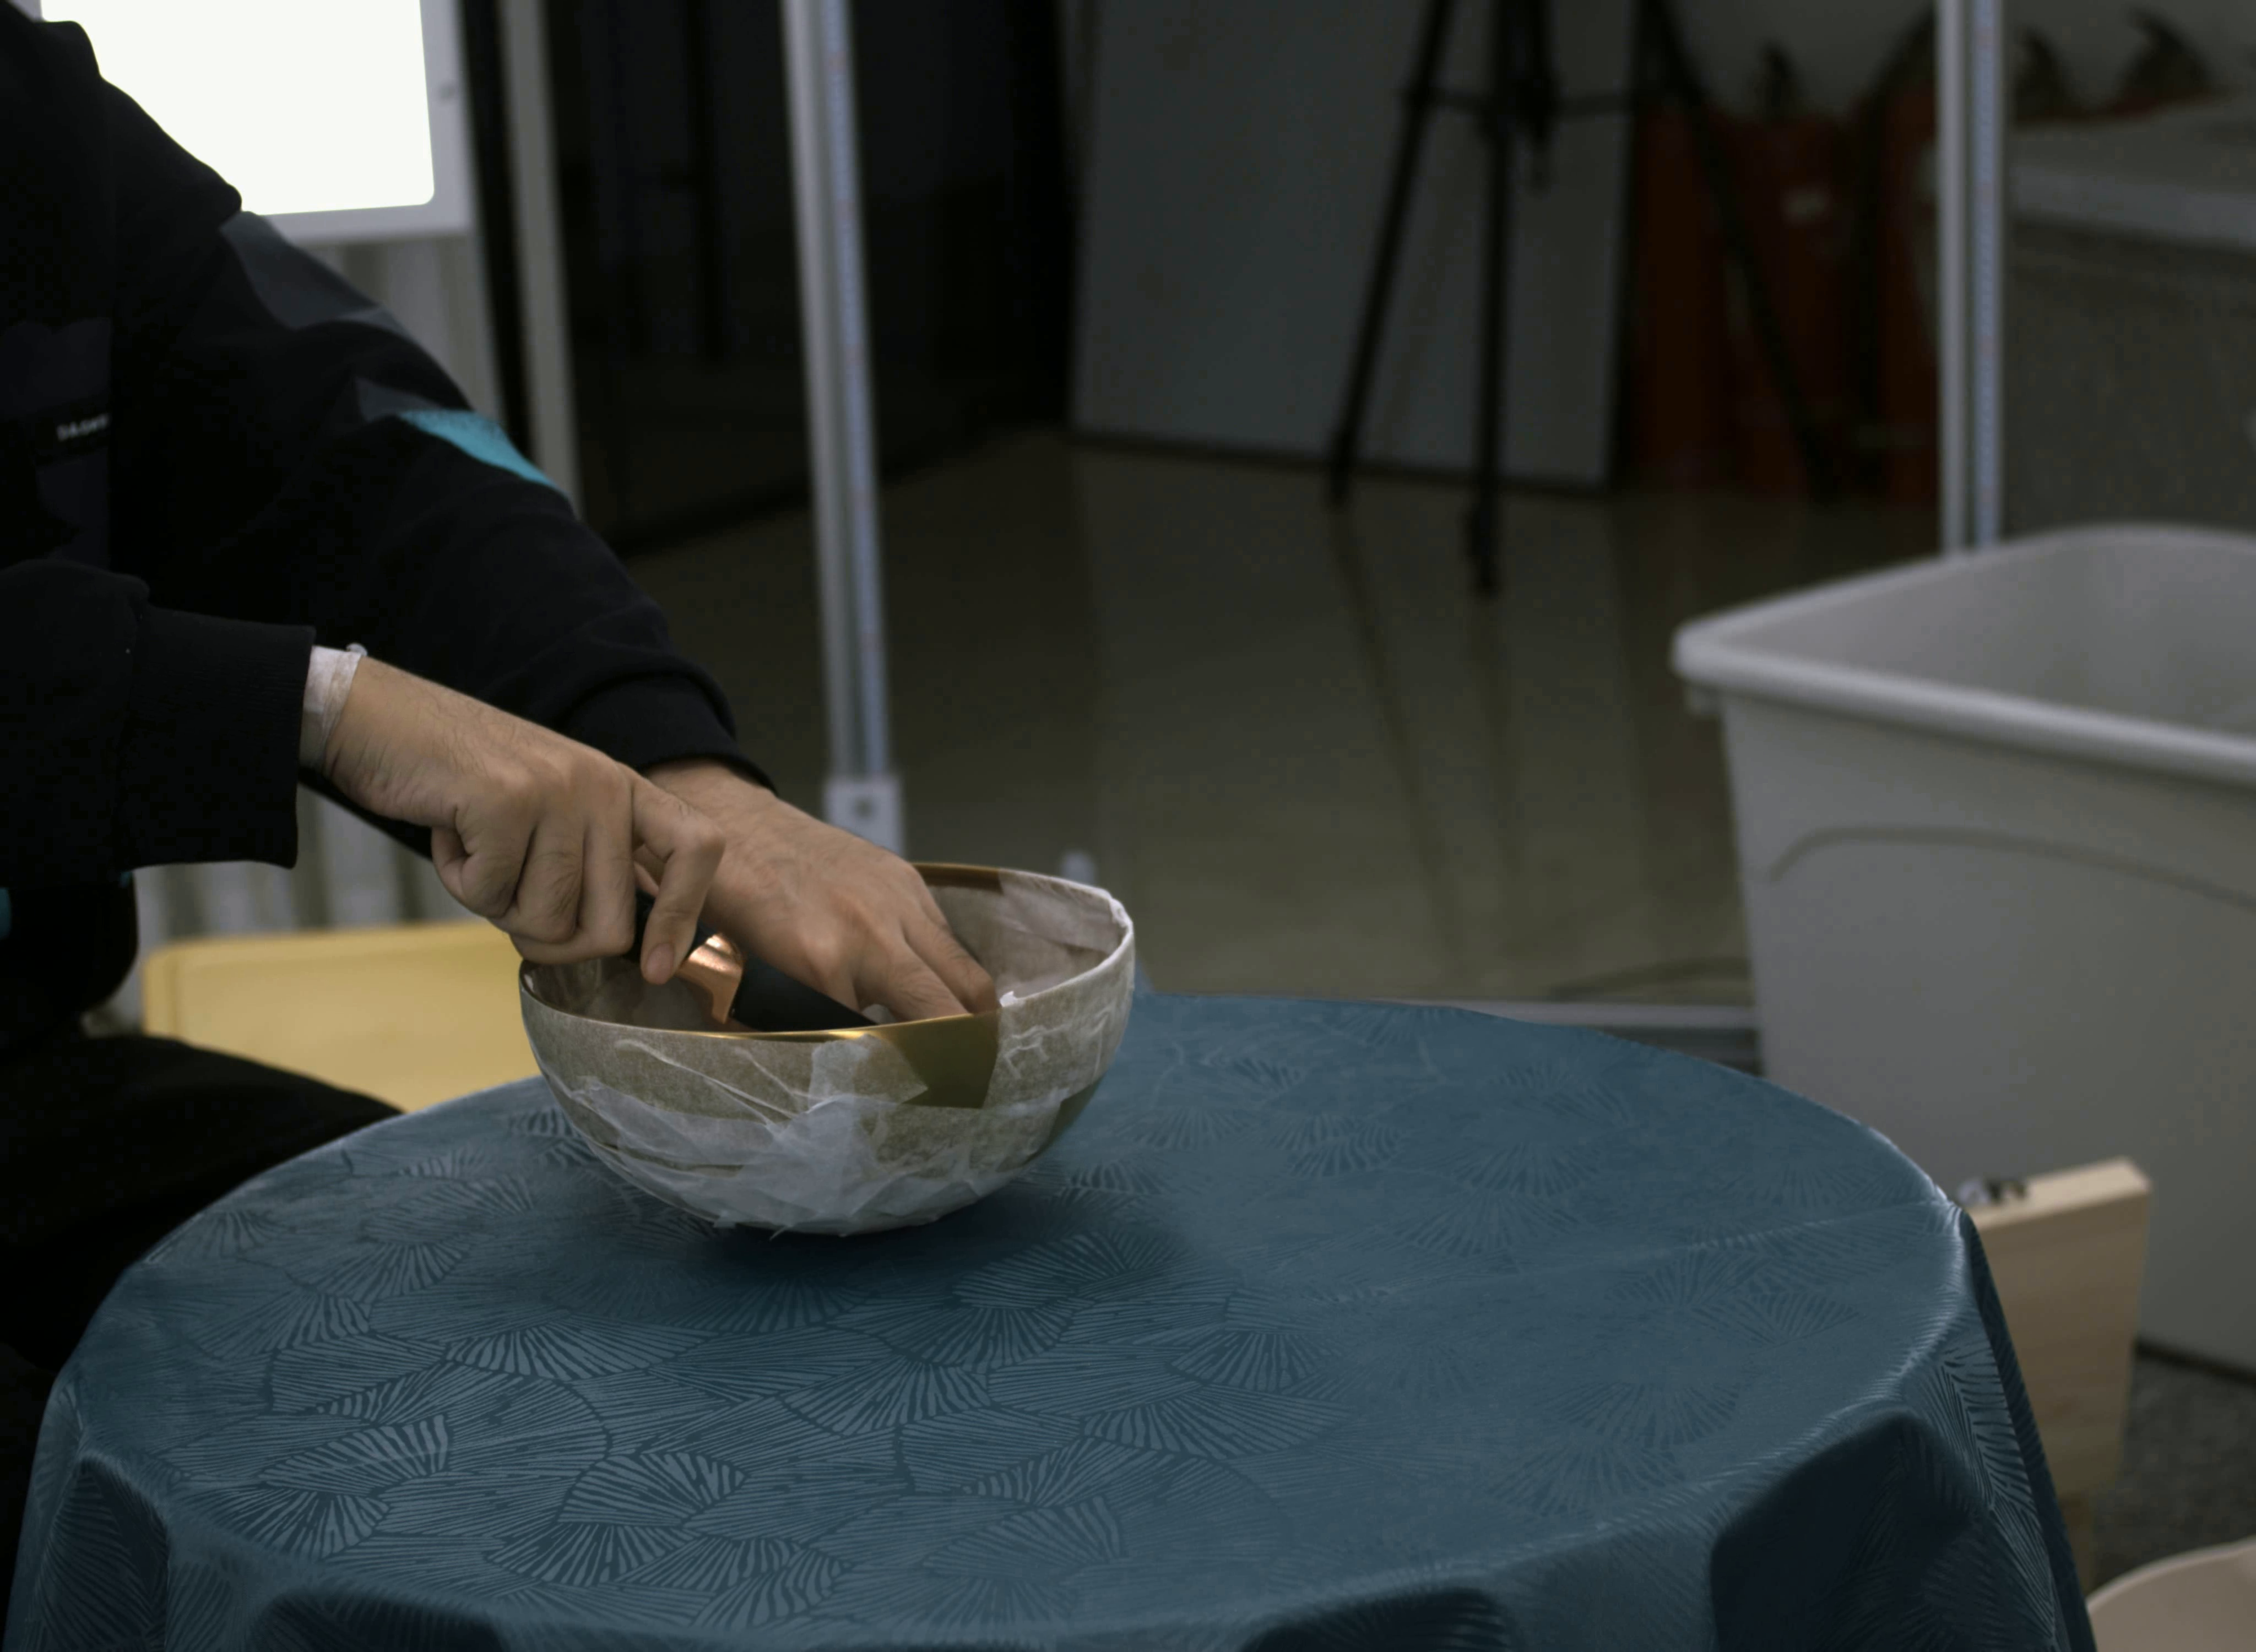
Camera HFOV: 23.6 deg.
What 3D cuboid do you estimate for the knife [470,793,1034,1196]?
[{"bbox_3d":[-0.121,0.054,1.751,0.225,0.026,0.017,32,12,12],"label":"knife"}]

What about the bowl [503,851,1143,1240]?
[{"bbox_3d":[-0.097,0.079,1.765,0.212,0.095,0.215,-4,15,0],"label":"bowl"}]
